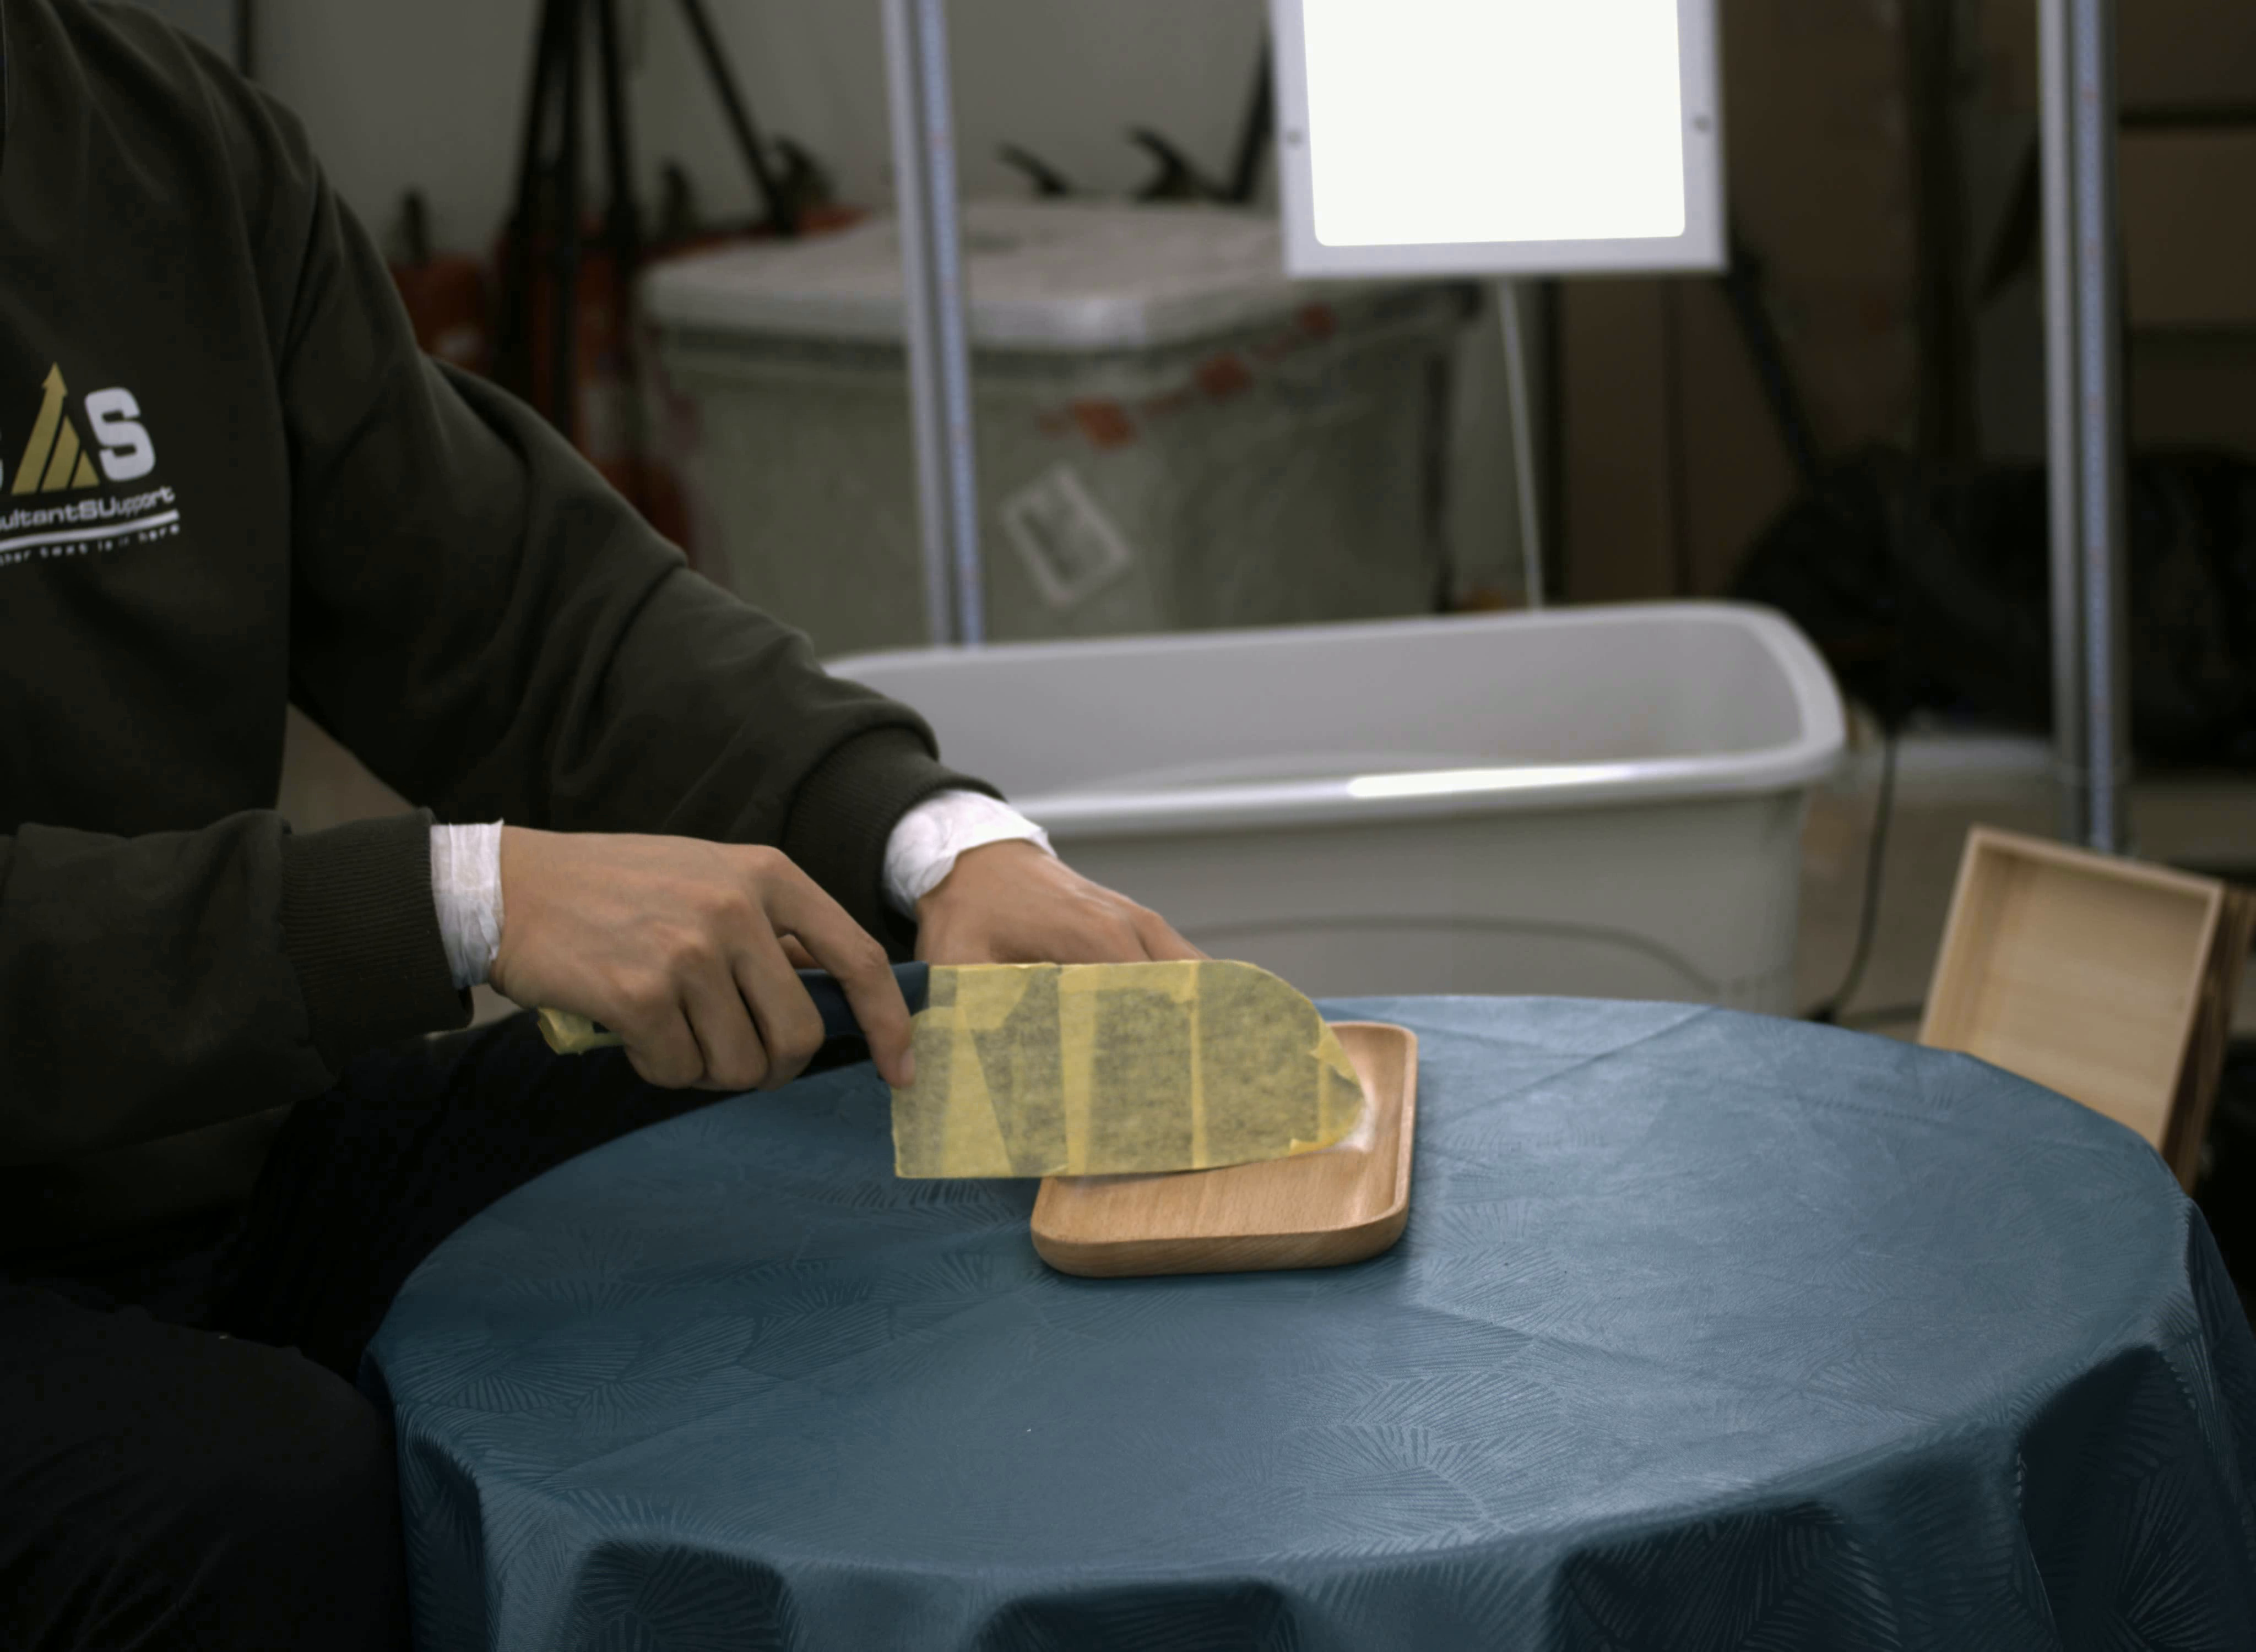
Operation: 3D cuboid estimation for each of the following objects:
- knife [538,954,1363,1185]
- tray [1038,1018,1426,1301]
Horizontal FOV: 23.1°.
[{"bbox_3d":[-0.058,0.082,1.877,0.286,0.081,0.027,2,-5,-11],"label":"knife"},{"bbox_3d":[0.040,0.114,1.920,0.131,0.023,0.249,-7,16,7],"label":"tray"}]
